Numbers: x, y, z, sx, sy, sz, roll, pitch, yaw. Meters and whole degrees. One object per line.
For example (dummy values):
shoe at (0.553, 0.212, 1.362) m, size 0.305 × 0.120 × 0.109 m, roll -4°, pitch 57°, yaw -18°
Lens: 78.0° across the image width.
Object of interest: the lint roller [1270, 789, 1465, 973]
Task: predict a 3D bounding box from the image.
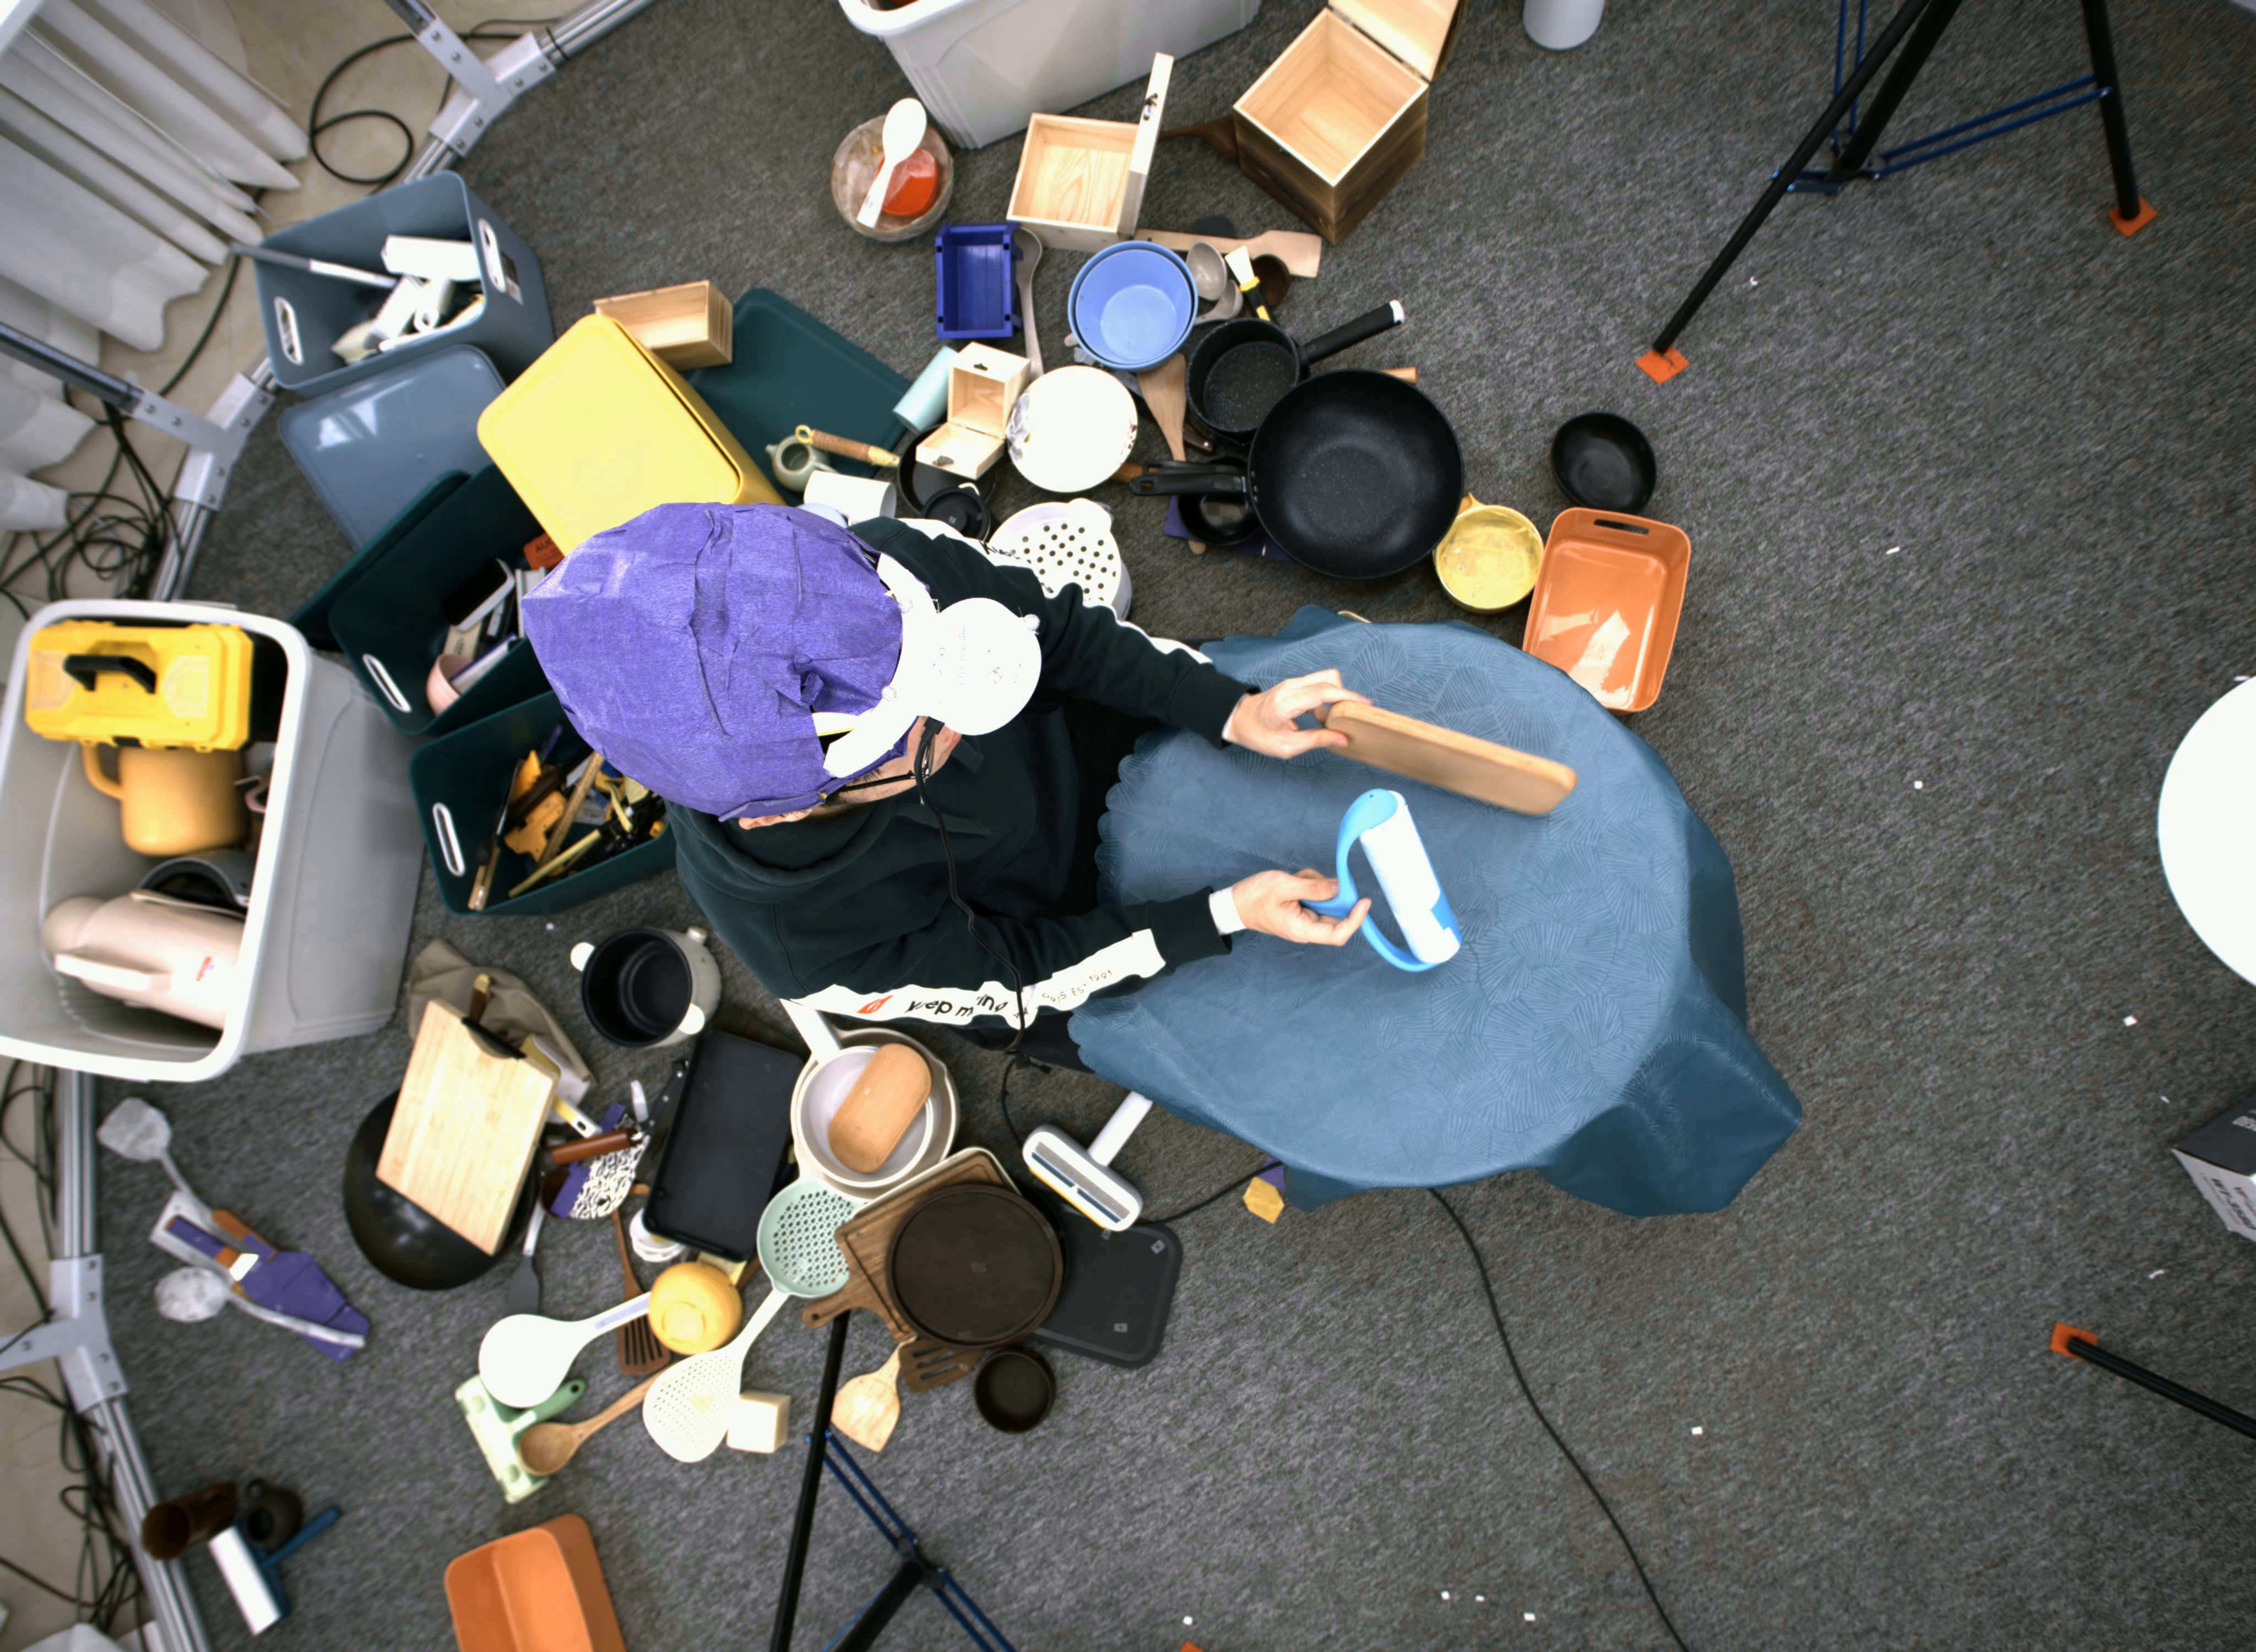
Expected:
lint roller at (0.220, 0.062, 1.356) m, size 0.182 × 0.232 × 0.066 m, roll -11°, pitch 42°, yaw 29°

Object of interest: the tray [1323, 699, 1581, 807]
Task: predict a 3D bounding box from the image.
tray at (0.317, -0.072, 1.369) m, size 0.251 × 0.132 × 0.022 m, roll 16°, pitch 76°, yaw 7°
